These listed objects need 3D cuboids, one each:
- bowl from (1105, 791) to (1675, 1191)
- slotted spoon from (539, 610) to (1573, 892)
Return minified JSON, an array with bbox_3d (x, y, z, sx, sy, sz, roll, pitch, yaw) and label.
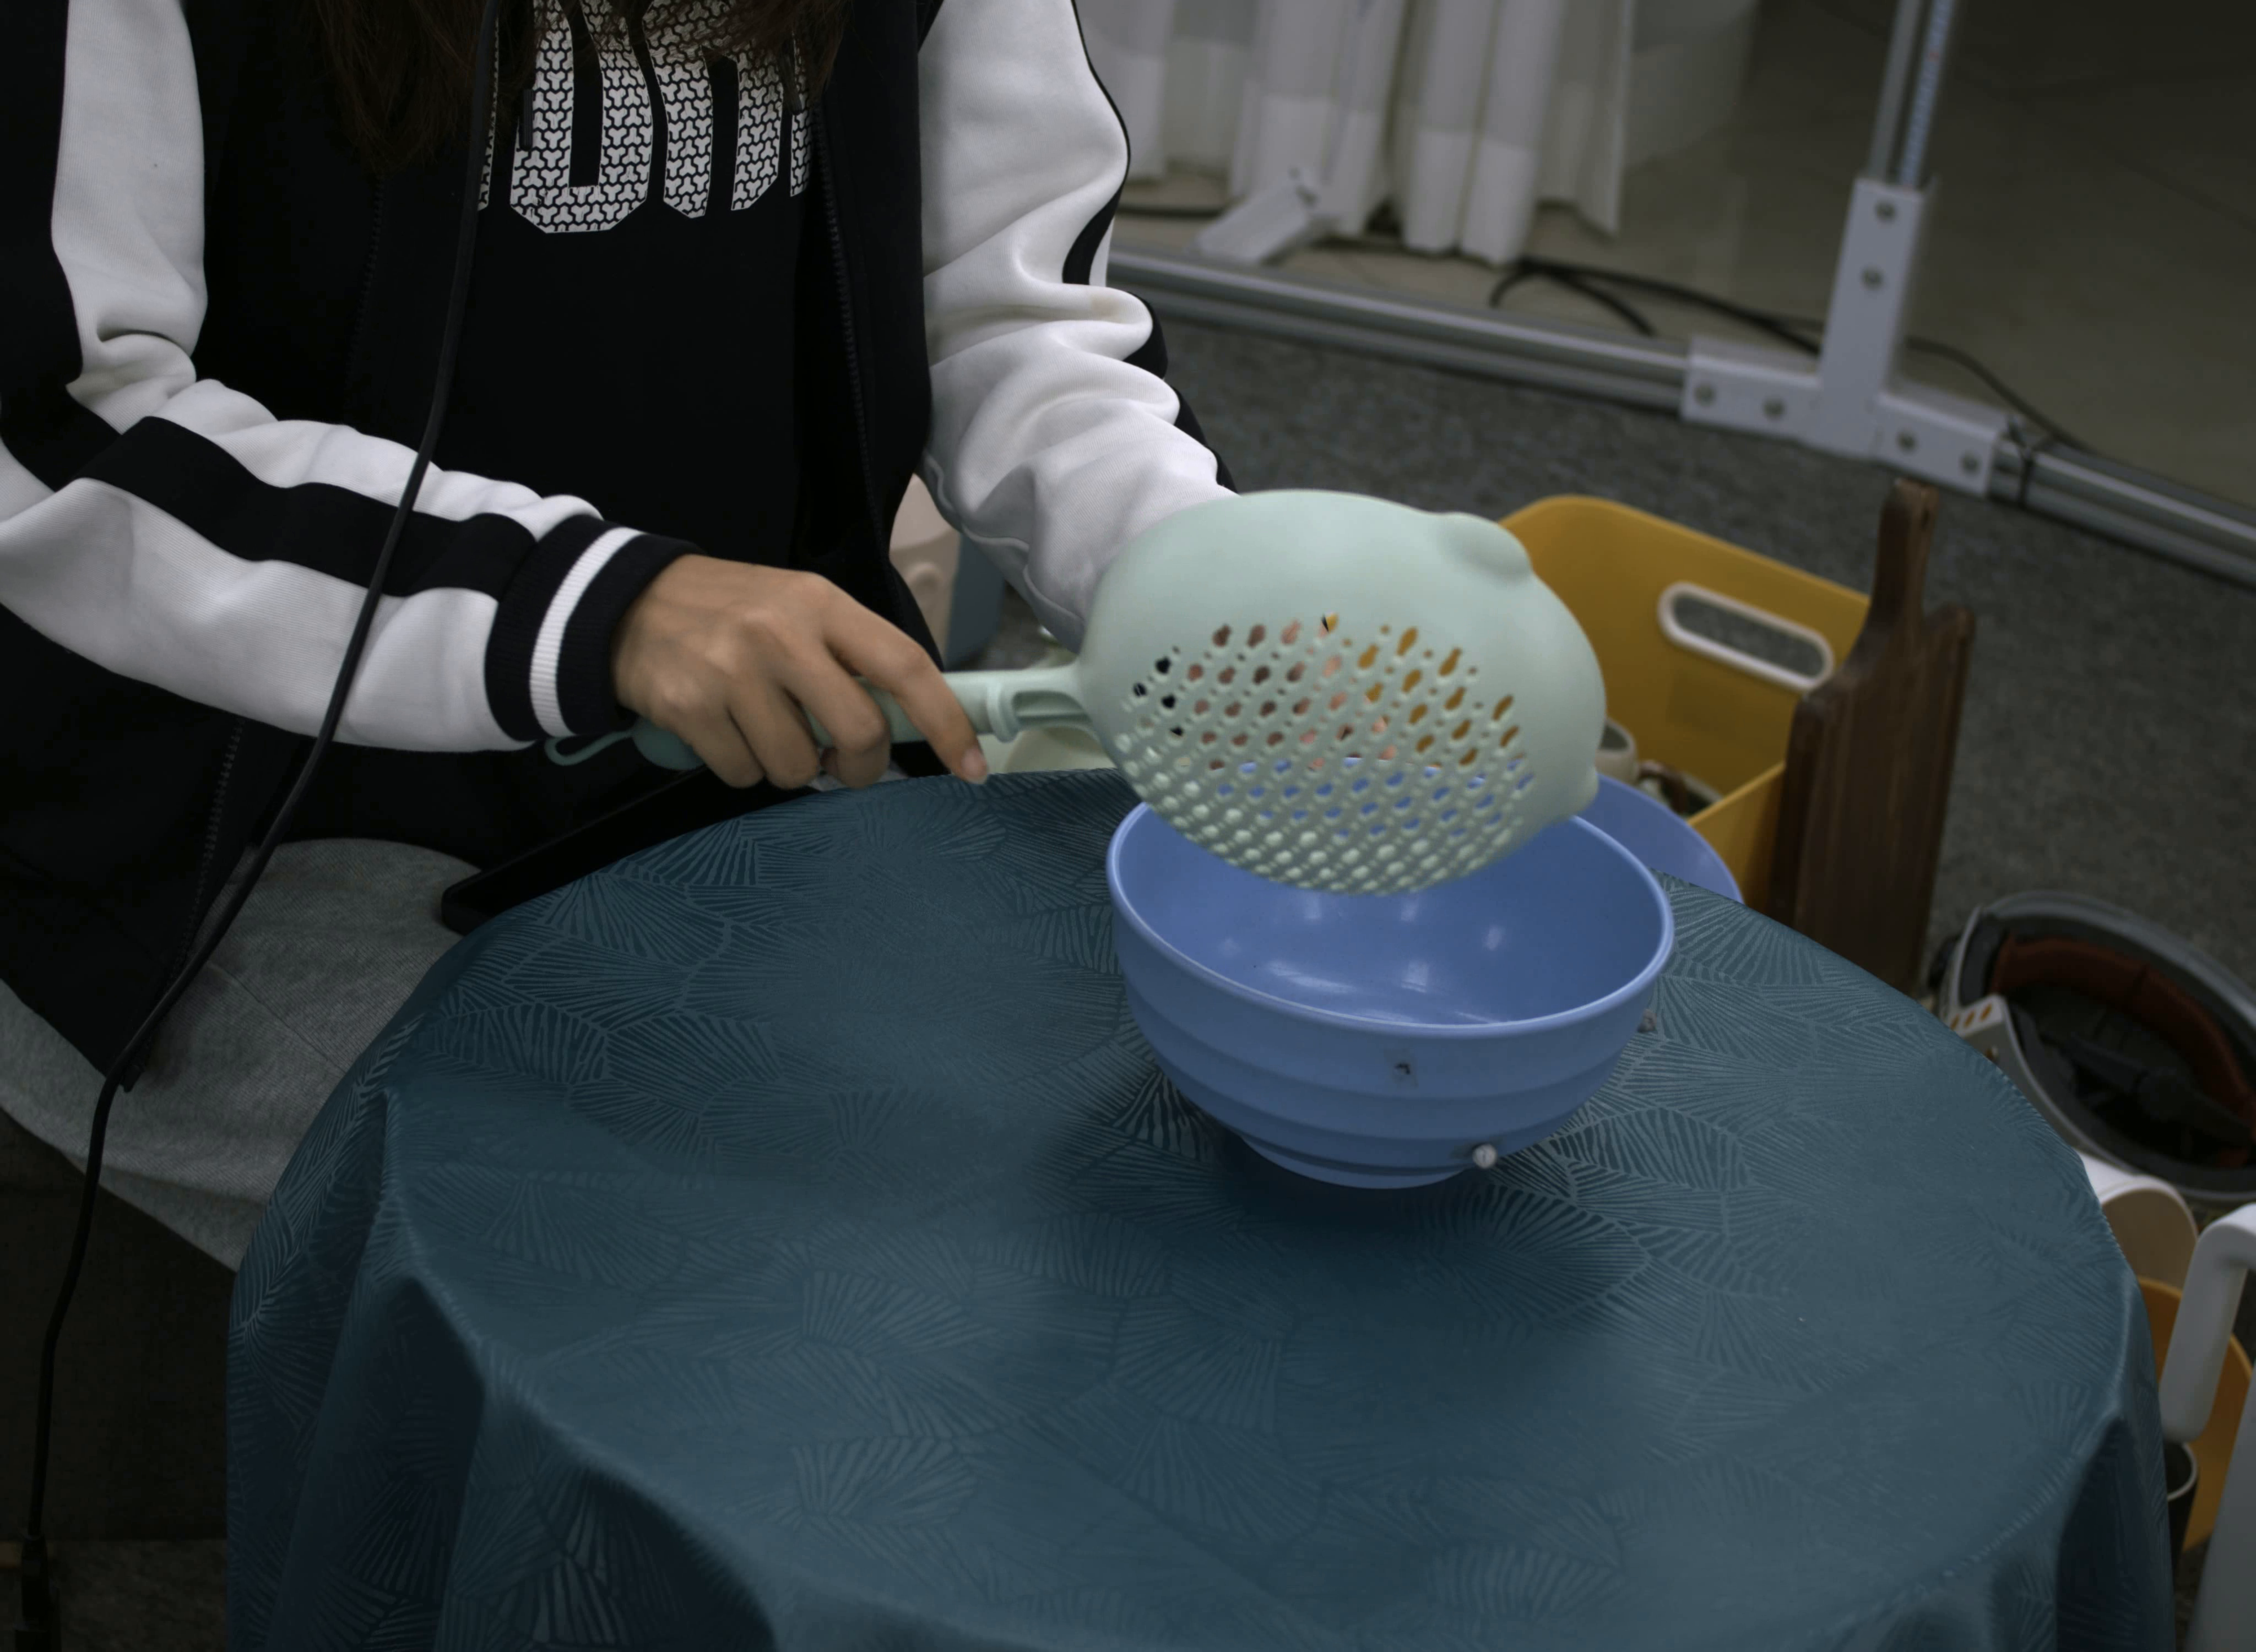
[{"bbox_3d":[0.085,0.062,1.838,0.196,0.095,0.197,5,27,-3],"label":"bowl"},{"bbox_3d":[-0.033,-0.028,1.748,0.360,0.076,0.168,8,-16,27],"label":"slotted spoon"}]
